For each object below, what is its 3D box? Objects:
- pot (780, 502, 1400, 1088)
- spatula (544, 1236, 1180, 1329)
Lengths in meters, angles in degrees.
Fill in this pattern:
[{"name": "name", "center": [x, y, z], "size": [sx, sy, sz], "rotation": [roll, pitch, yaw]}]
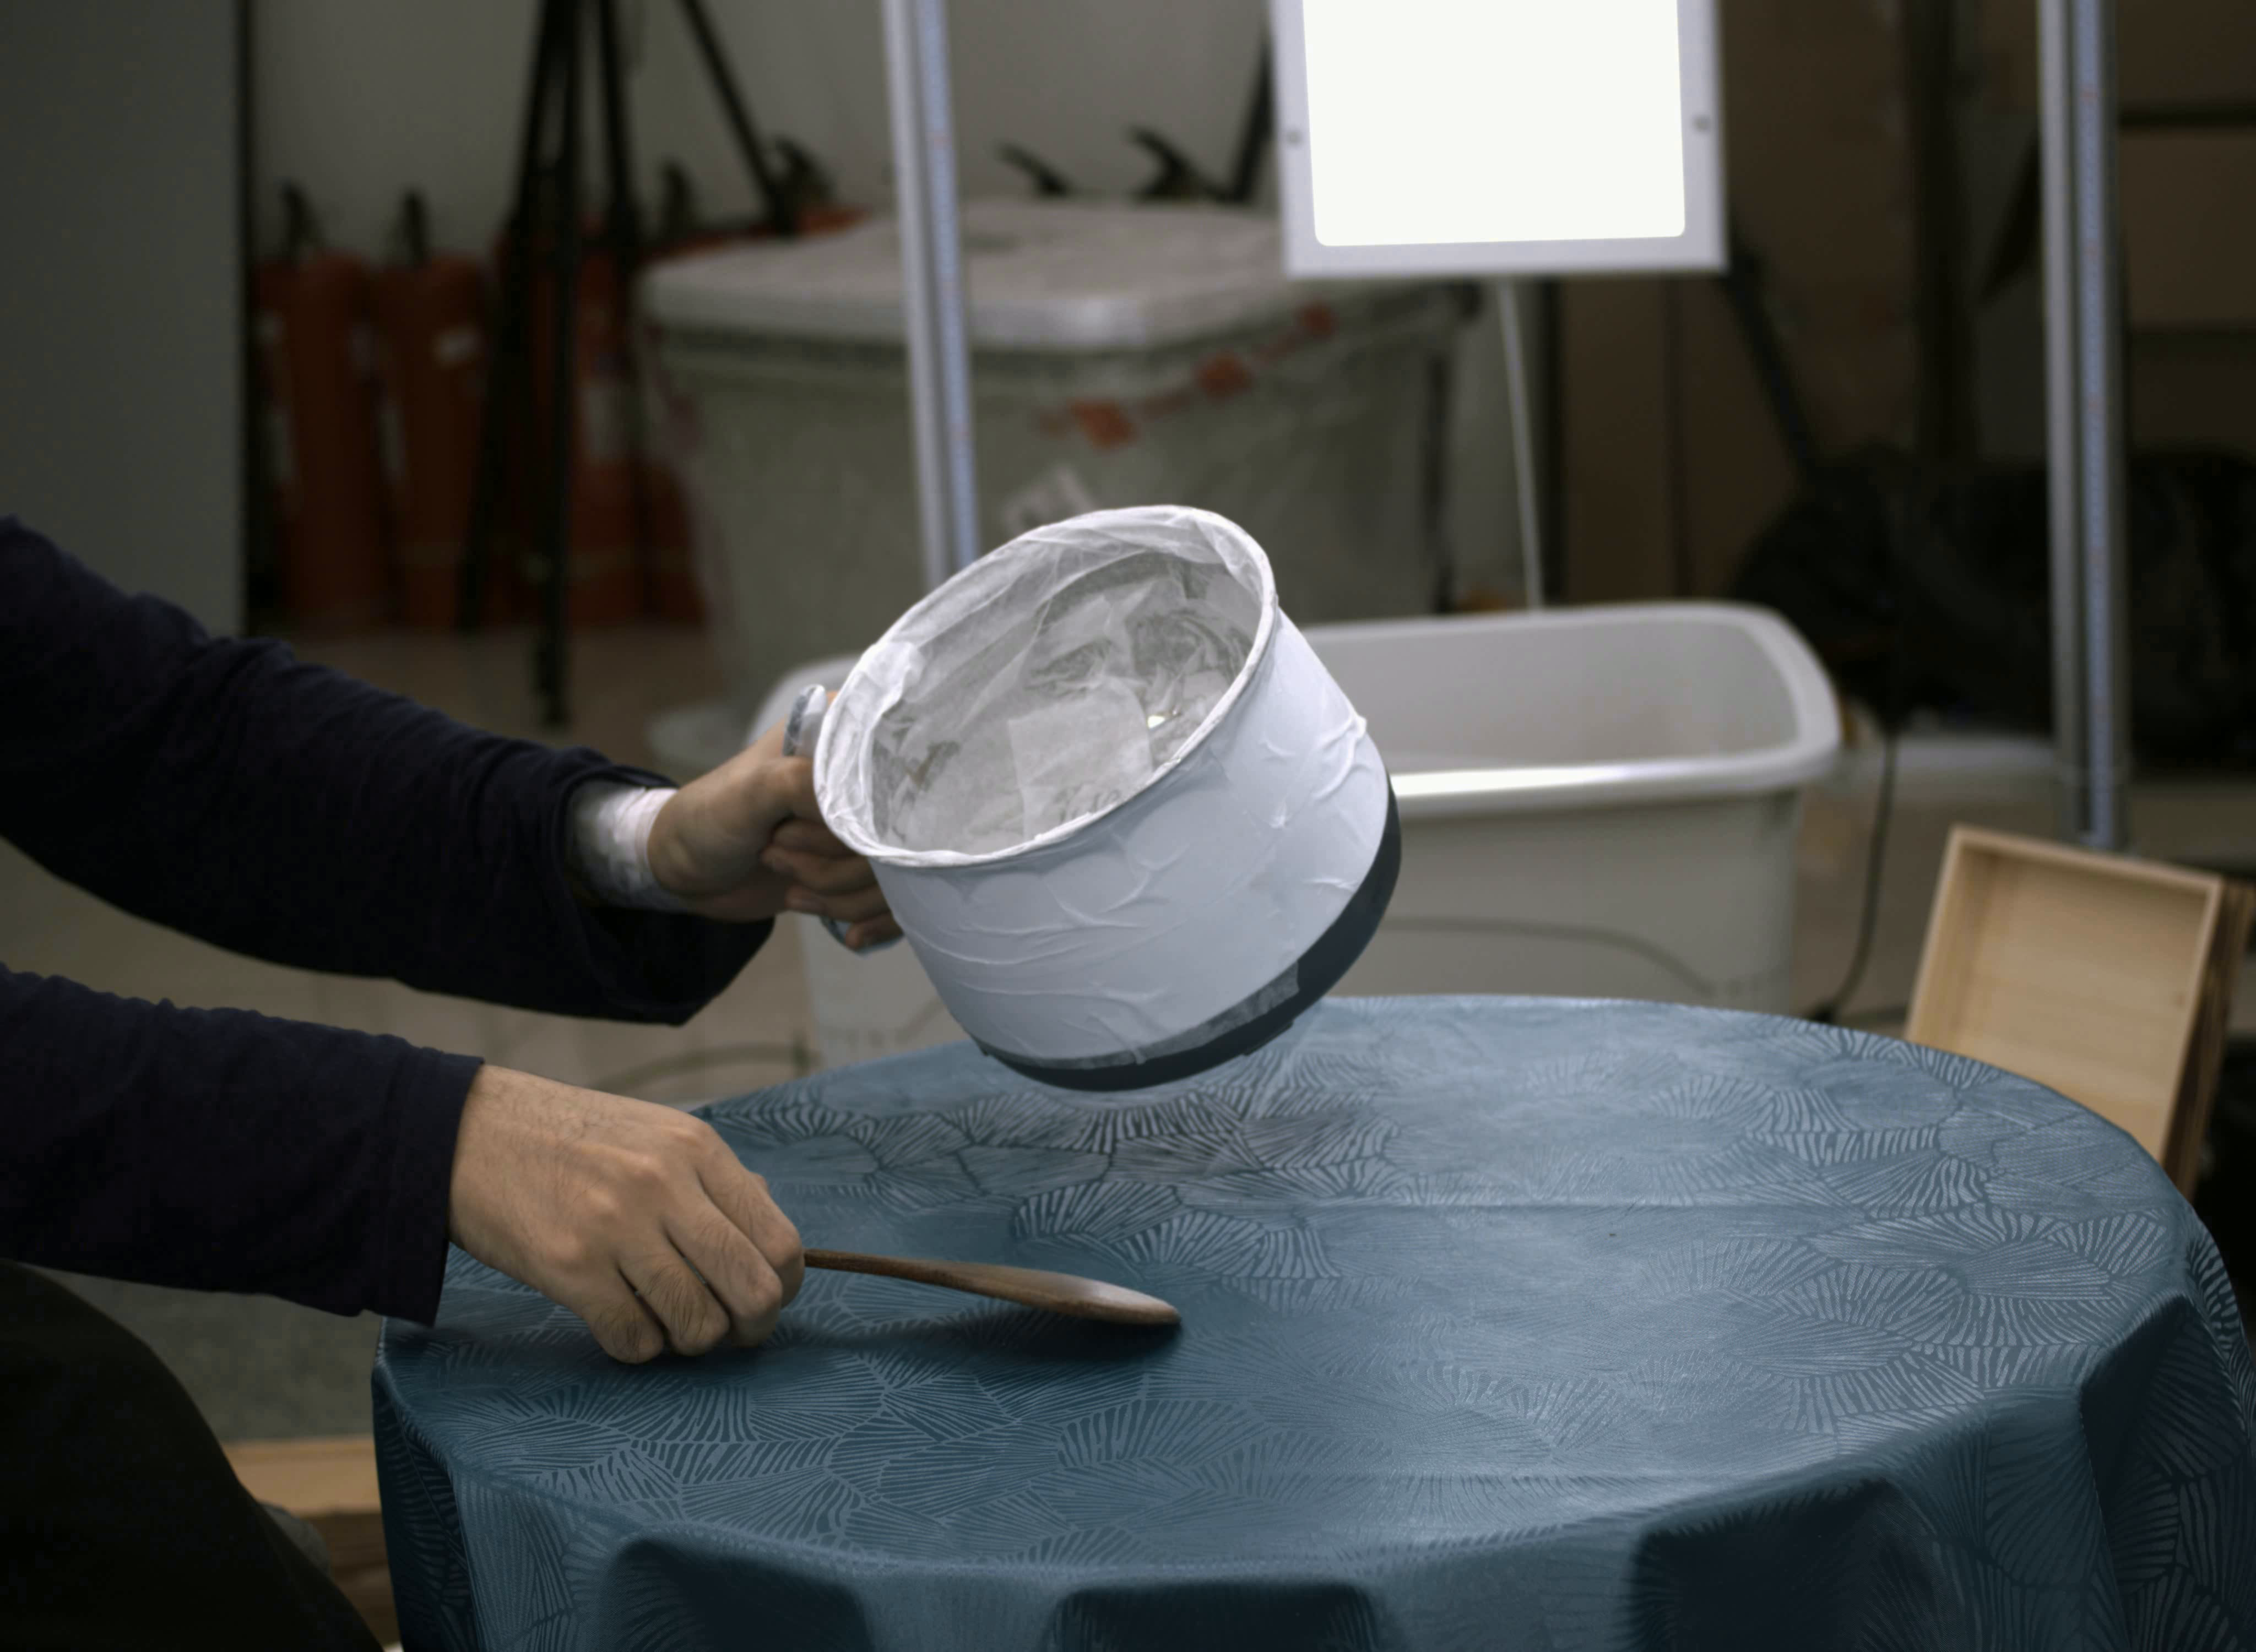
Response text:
[{"name": "pot", "center": [-0.026, -0.005, 1.933], "size": [0.238, 0.136, 0.176], "rotation": [-4, 41, 33]}, {"name": "spatula", "center": [-0.087, 0.146, 1.778], "size": [0.218, 0.009, 0.071], "rotation": [5, -2, 18]}]
